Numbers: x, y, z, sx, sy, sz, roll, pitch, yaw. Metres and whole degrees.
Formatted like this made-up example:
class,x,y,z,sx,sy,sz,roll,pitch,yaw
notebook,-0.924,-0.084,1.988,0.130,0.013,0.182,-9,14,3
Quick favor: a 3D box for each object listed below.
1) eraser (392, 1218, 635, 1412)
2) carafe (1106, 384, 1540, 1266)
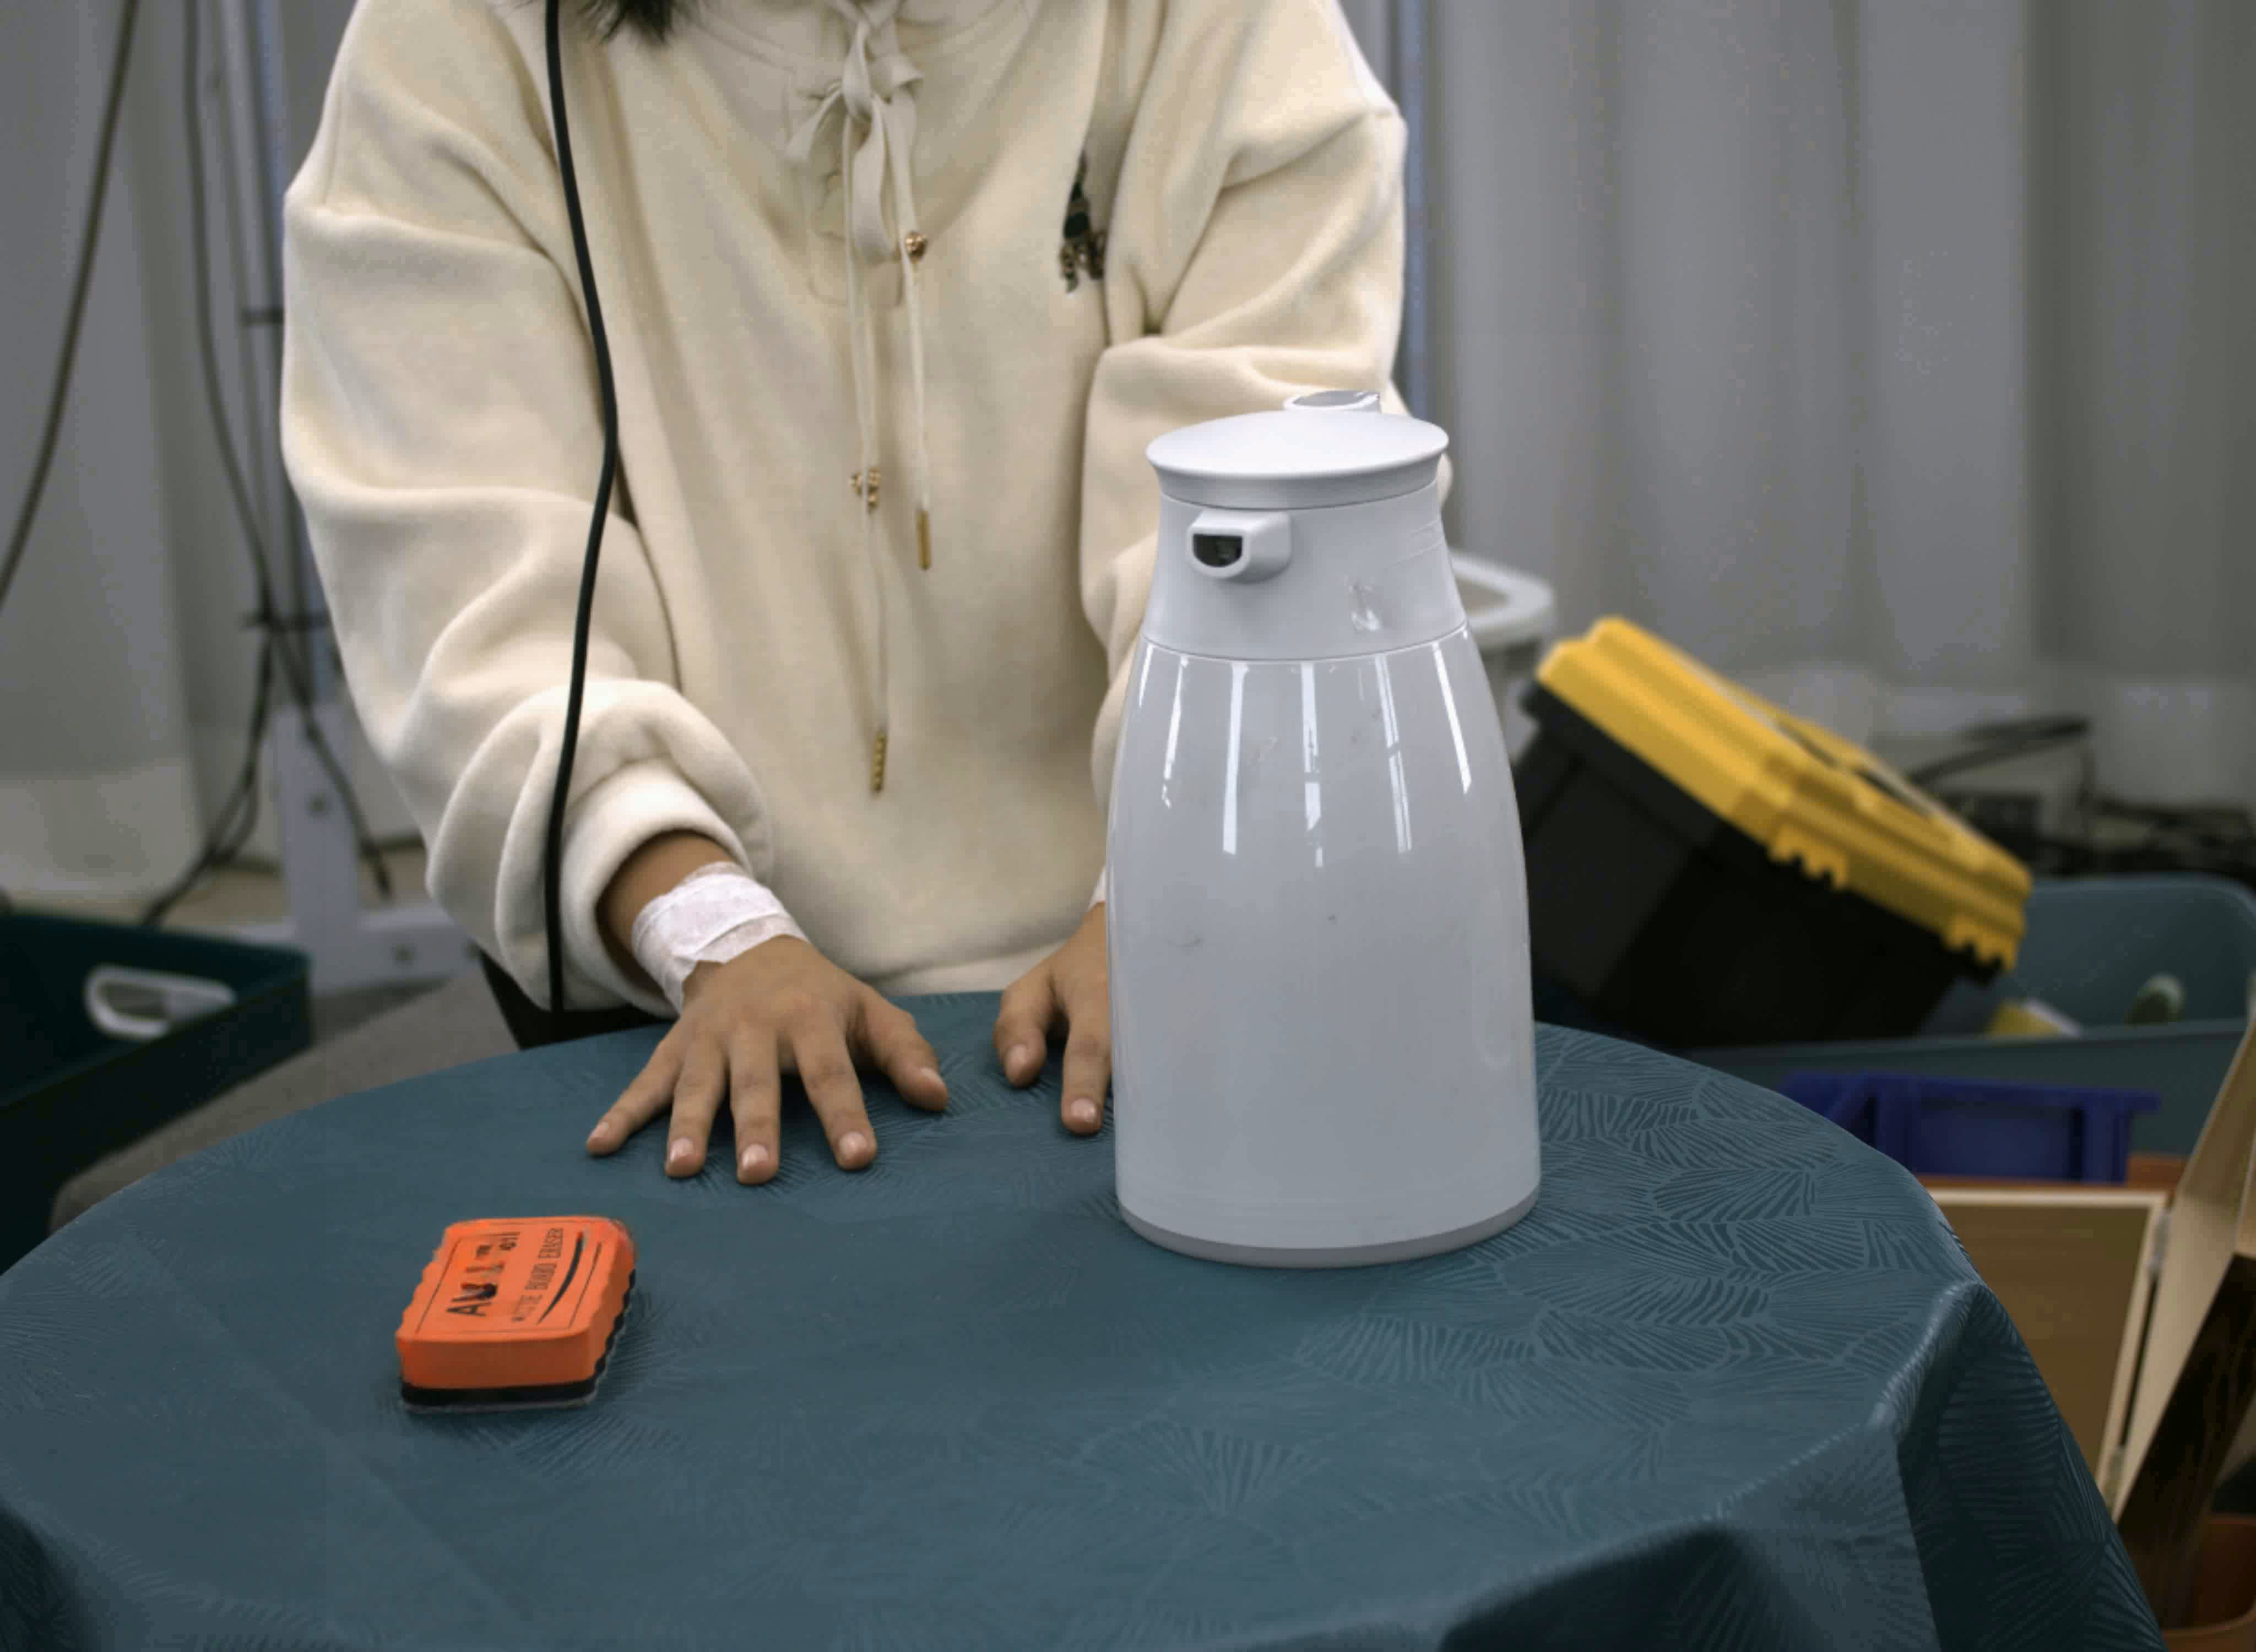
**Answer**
class,x,y,z,sx,sy,sz,roll,pitch,yaw
eraser,-0.179,0.142,1.600,0.059,0.023,0.109,0,15,3
carafe,0.063,-0.009,1.686,0.132,0.248,0.168,3,14,23
